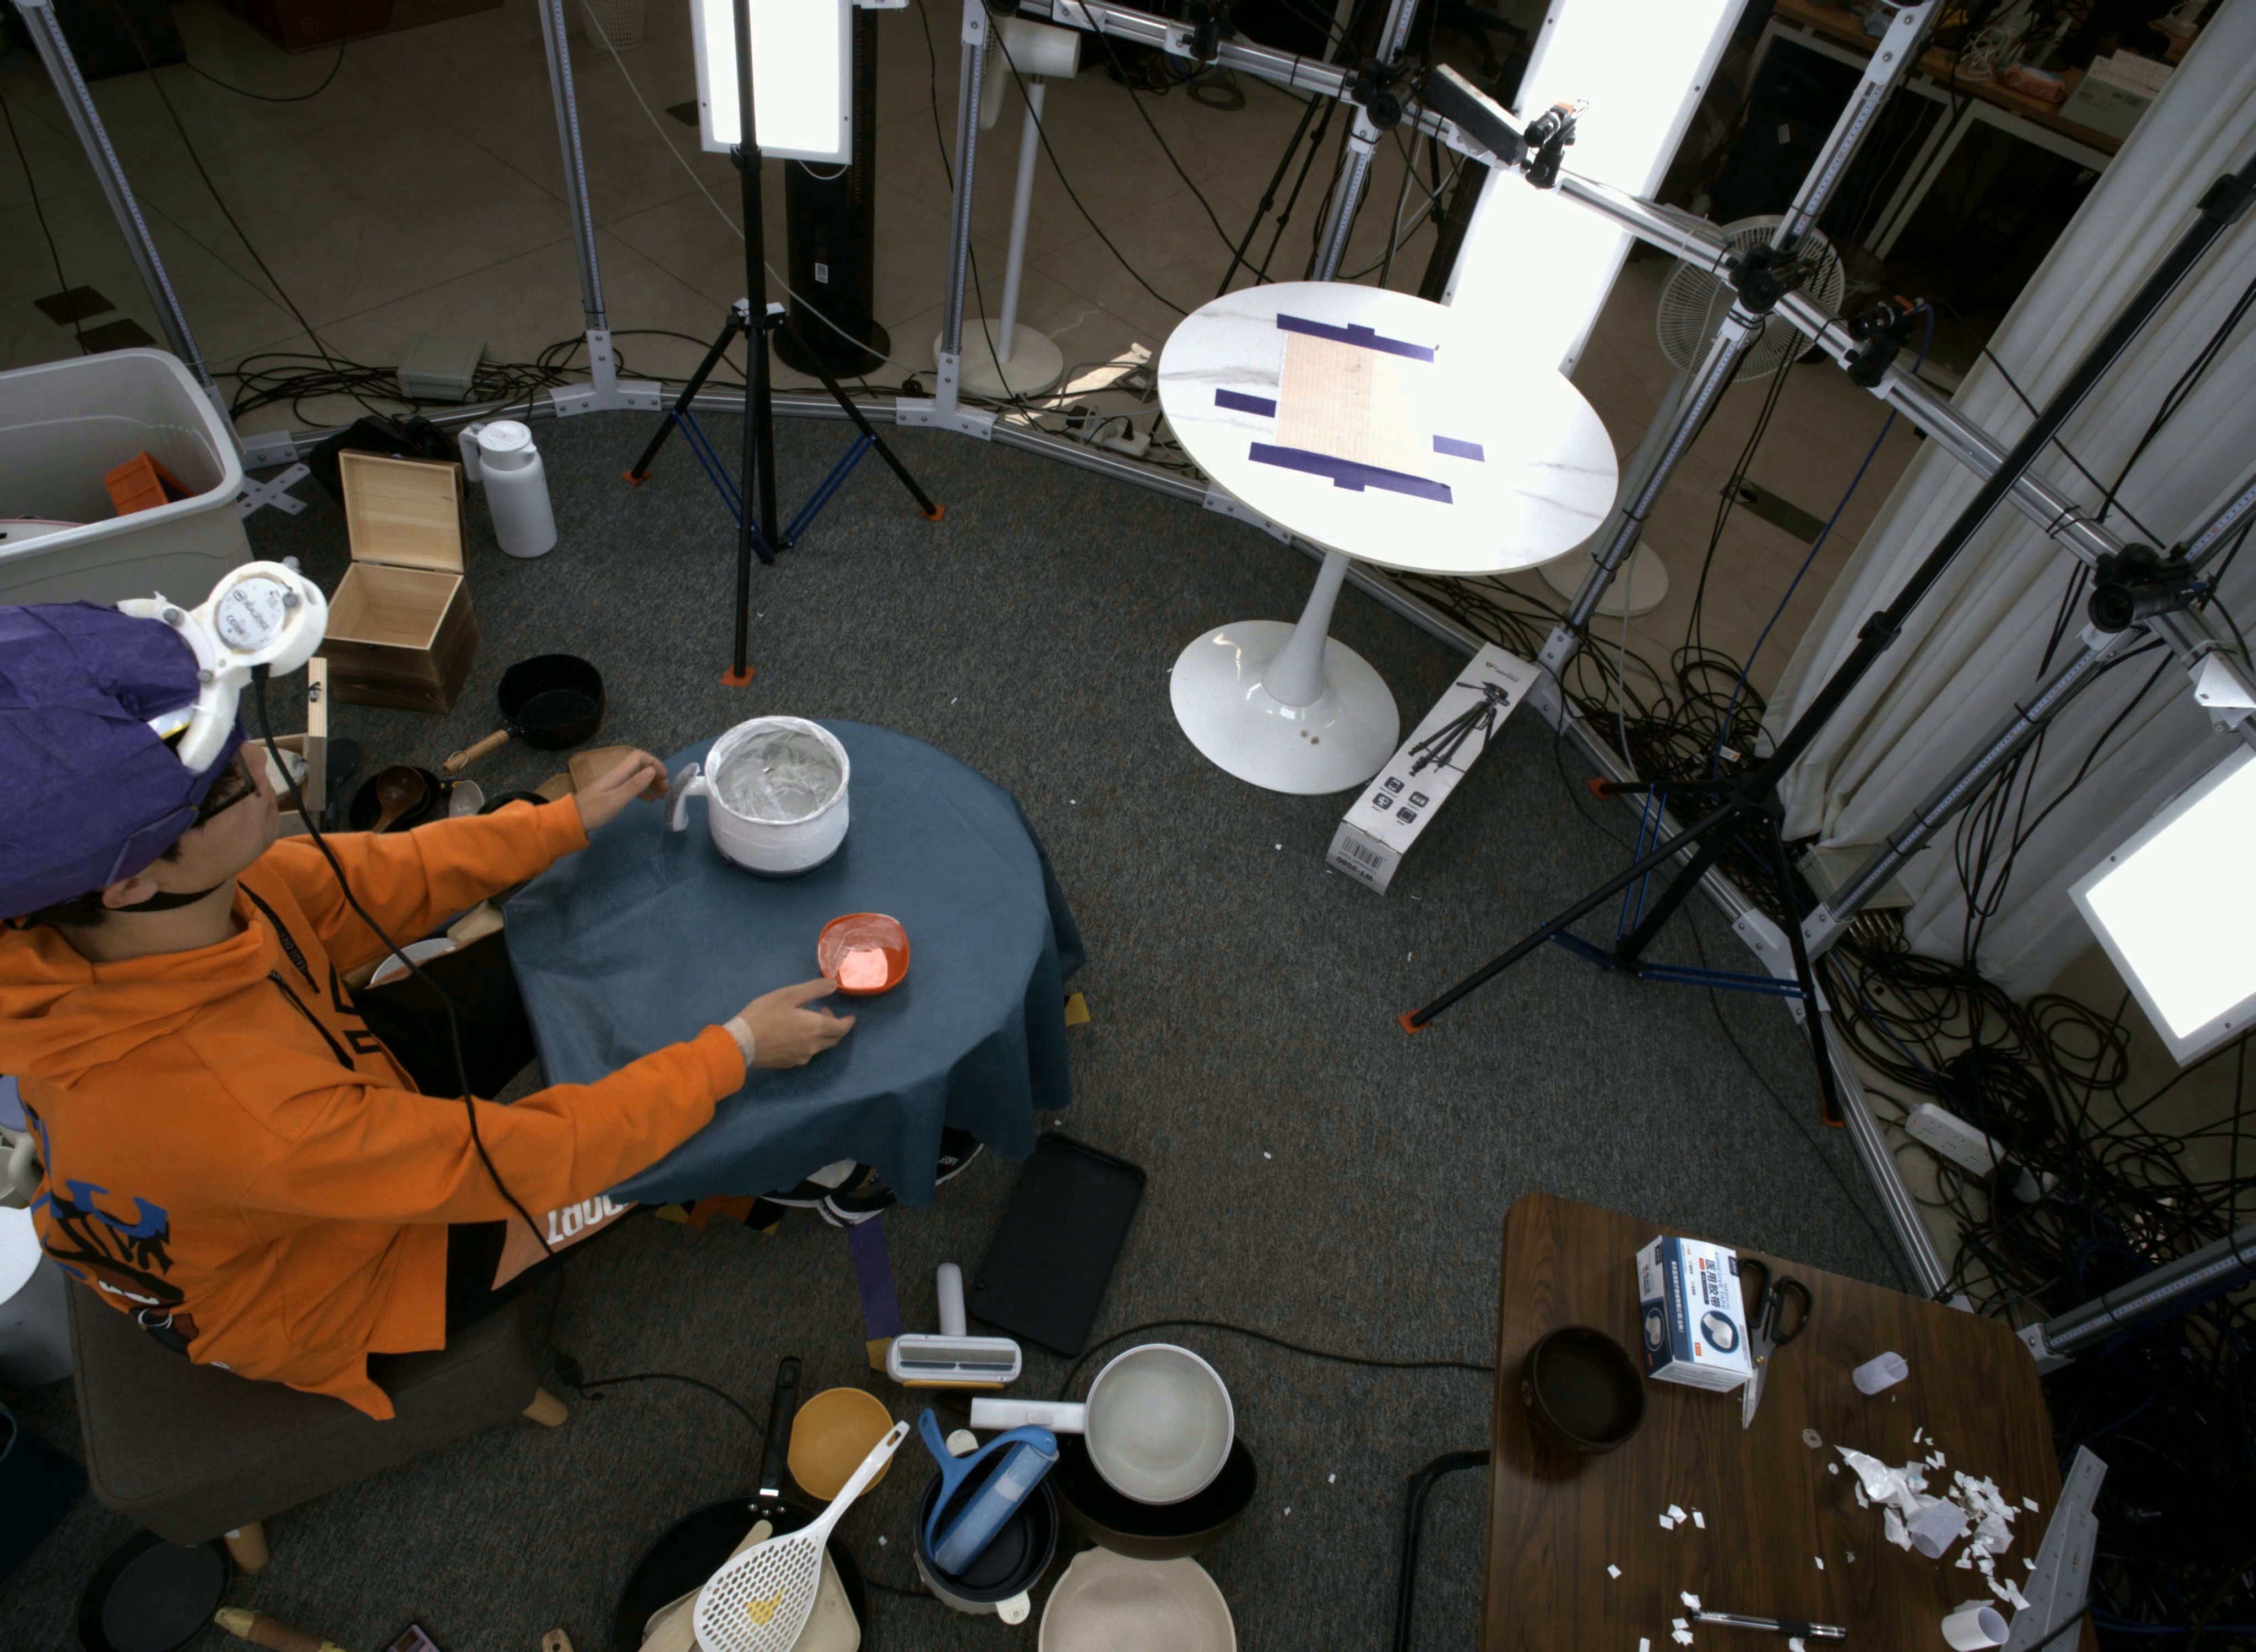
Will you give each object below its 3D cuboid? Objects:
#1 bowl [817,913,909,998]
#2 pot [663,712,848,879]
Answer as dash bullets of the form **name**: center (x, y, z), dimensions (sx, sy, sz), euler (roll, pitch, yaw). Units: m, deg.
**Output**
- **bowl**: center (-0.323, 0.164, 1.585), dimensions (0.119, 0.052, 0.117), euler (8, 52, -9)
- **pot**: center (-0.473, -0.034, 1.637), dimensions (0.234, 0.139, 0.174), euler (-1, 53, -16)
